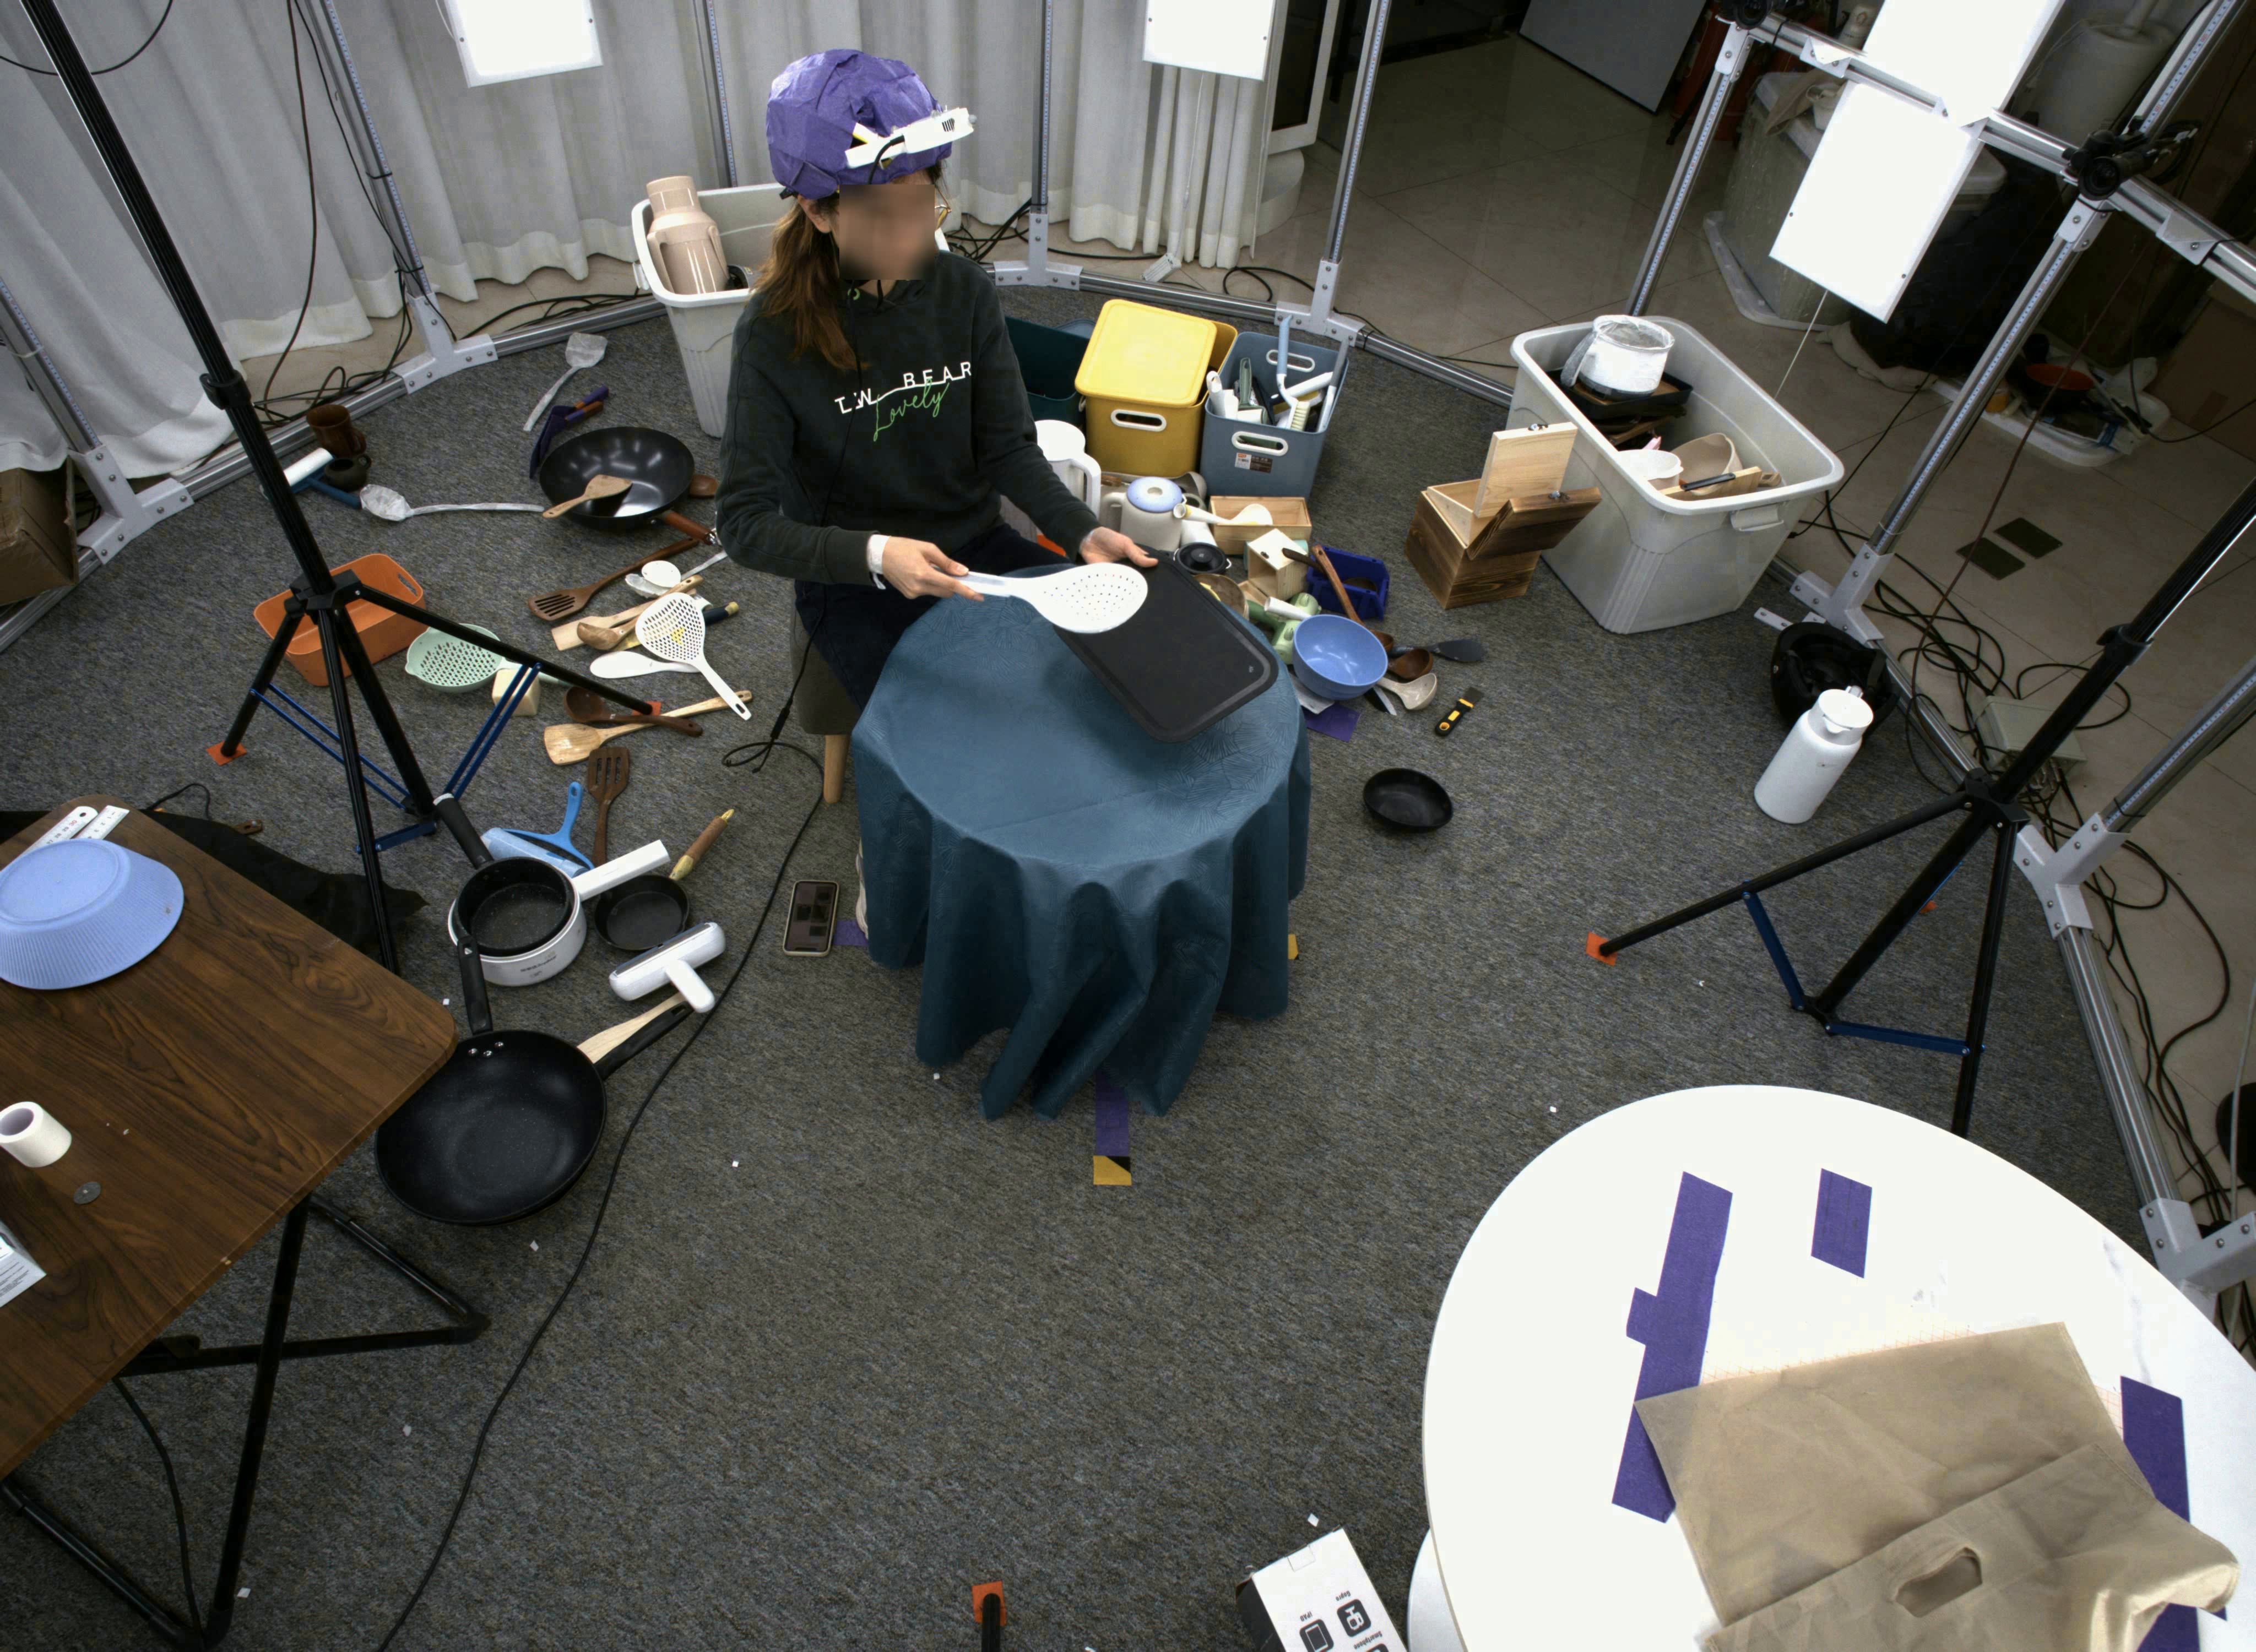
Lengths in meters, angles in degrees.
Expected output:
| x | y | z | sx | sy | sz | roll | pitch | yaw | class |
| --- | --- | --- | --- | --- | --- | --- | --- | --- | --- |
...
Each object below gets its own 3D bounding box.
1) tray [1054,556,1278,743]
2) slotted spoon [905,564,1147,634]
| x | y | z | sx | sy | sz | roll | pitch | yaw | class |
| --- | --- | --- | --- | --- | --- | --- | --- | --- | --- |
| 0.044 | -0.257 | 1.786 | 0.212 | 0.009 | 0.332 | -32 | 59 | -14 | tray |
| -0.139 | -0.310 | 1.687 | 0.352 | 0.044 | 0.138 | 15 | 49 | 20 | slotted spoon |
